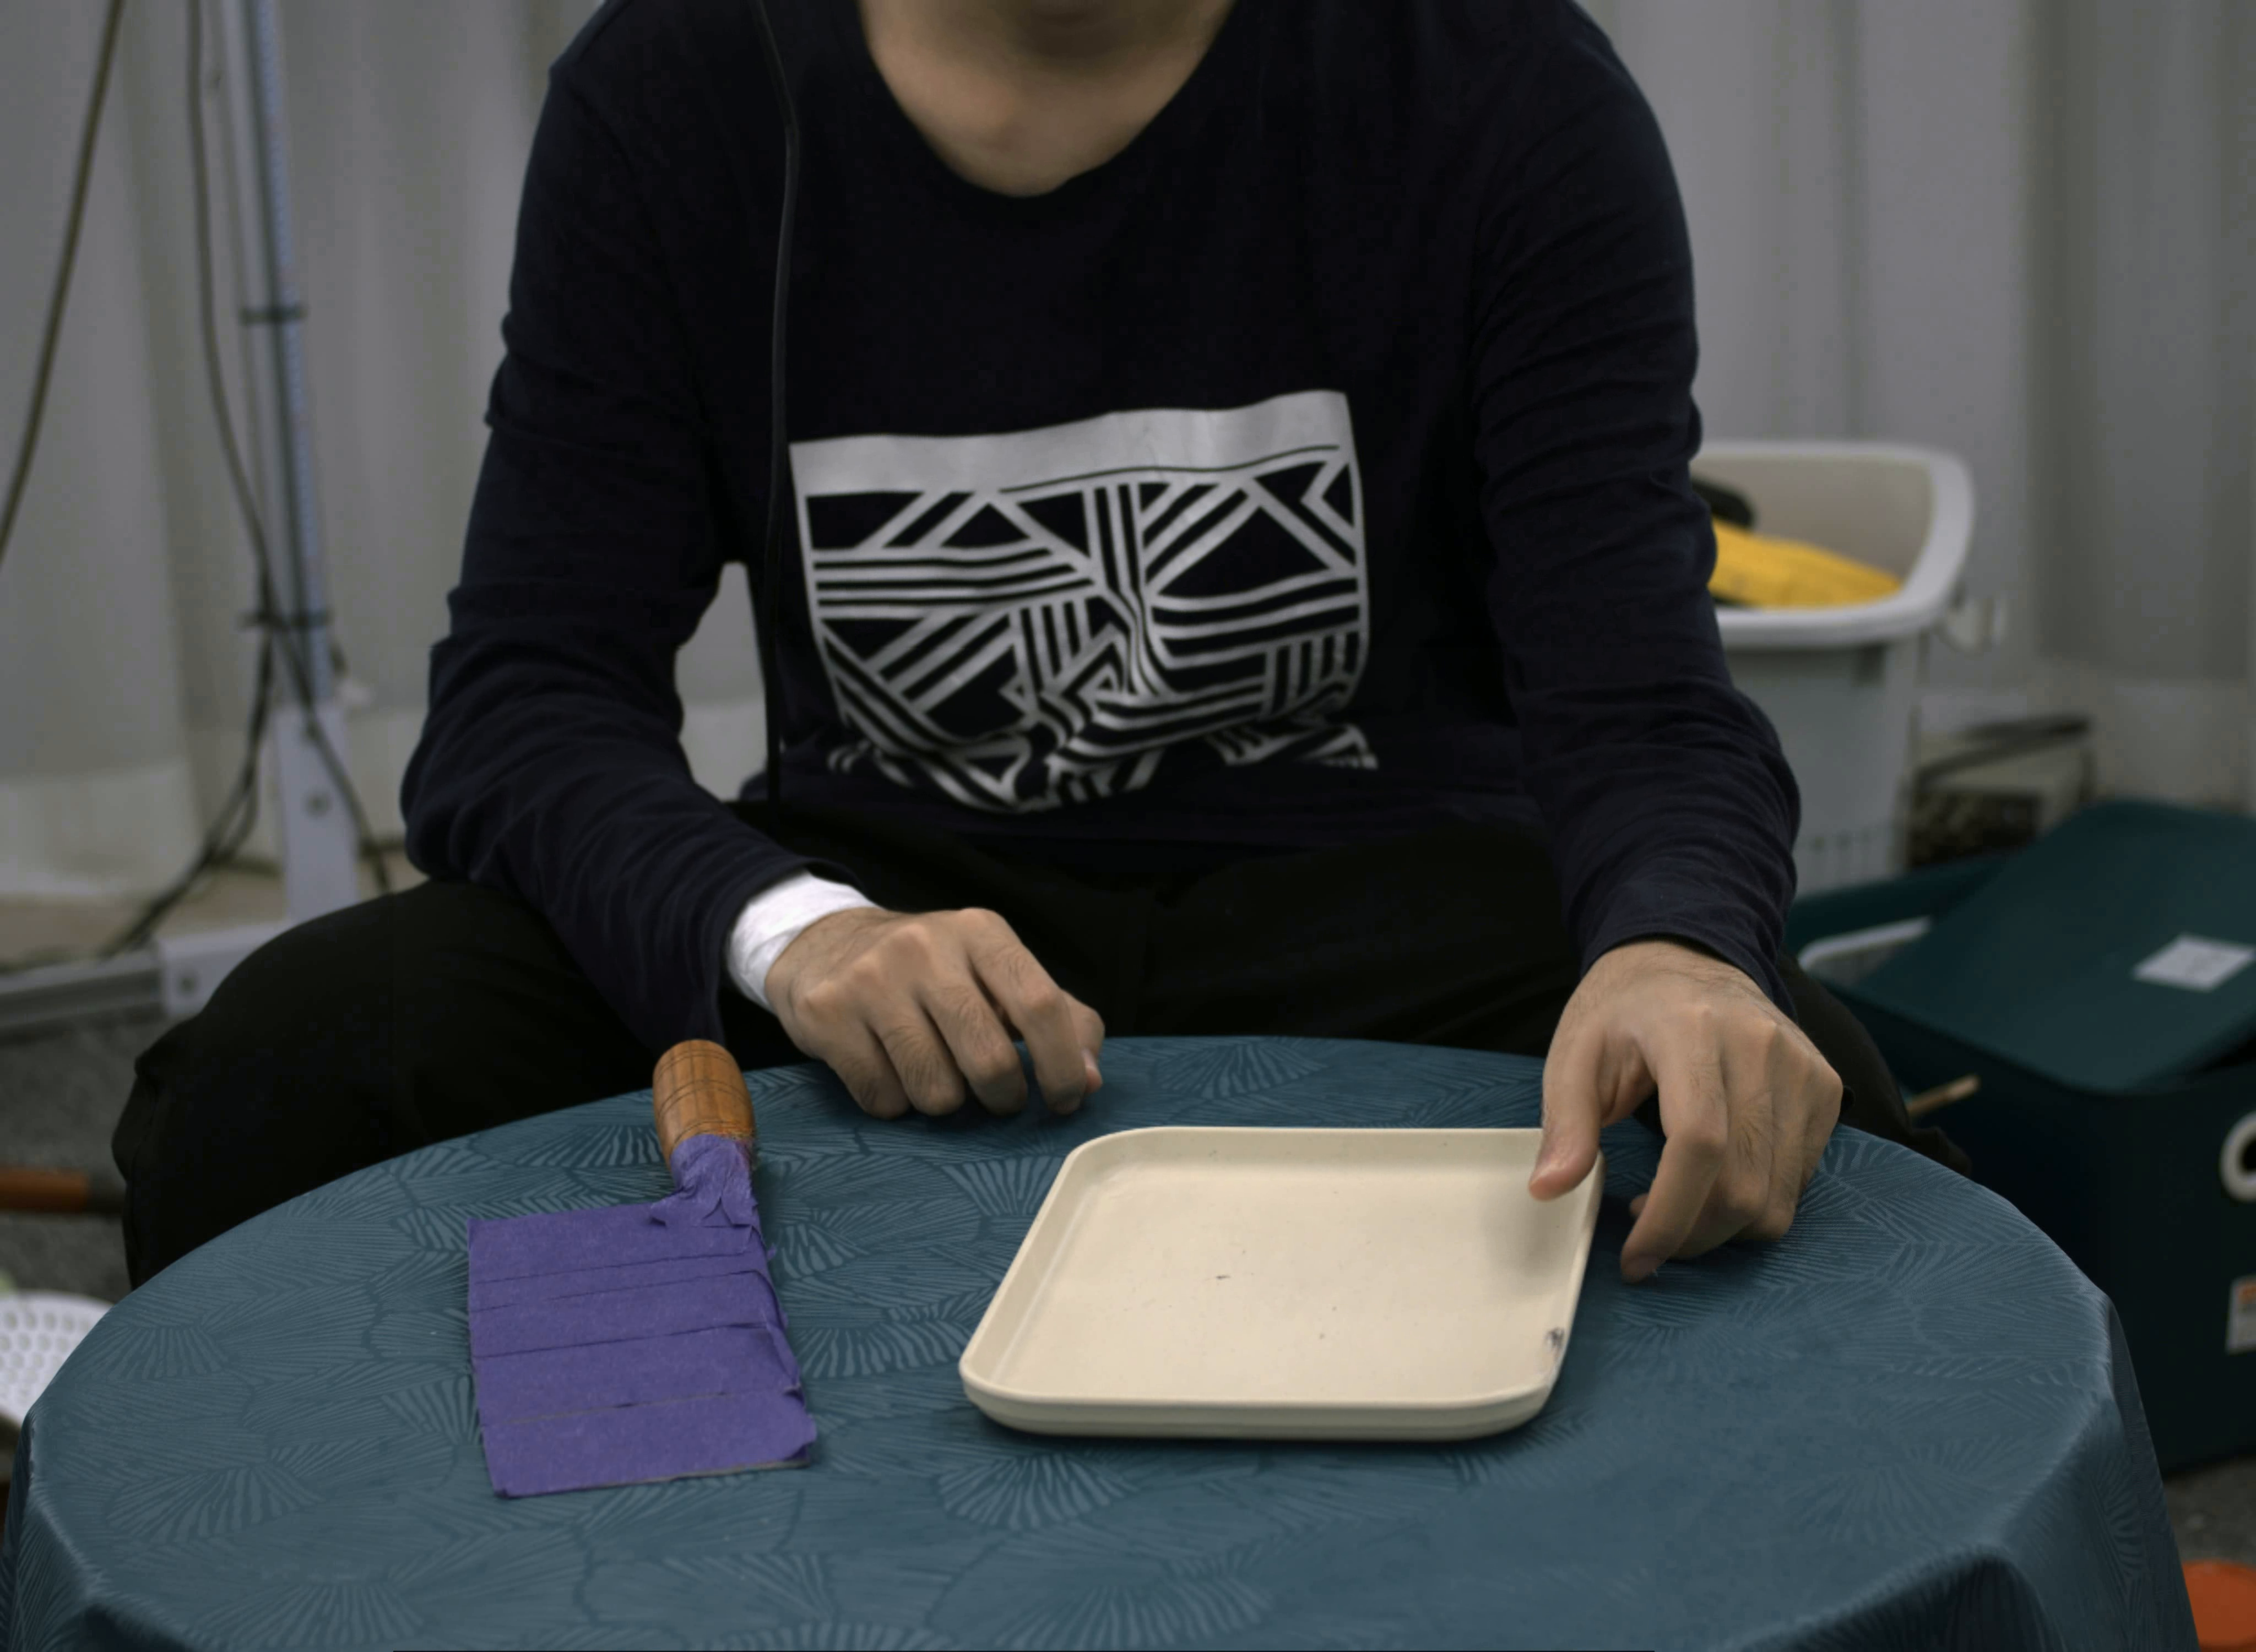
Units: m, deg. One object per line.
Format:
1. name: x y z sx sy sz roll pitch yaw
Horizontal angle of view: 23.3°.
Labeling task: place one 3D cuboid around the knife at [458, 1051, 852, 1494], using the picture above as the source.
1. knife: -0.151 0.130 1.638 0.103 0.032 0.318 -5 15 -8

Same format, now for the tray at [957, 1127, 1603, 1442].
1. tray: 0.049 0.133 1.603 0.171 0.017 0.241 -1 15 10
